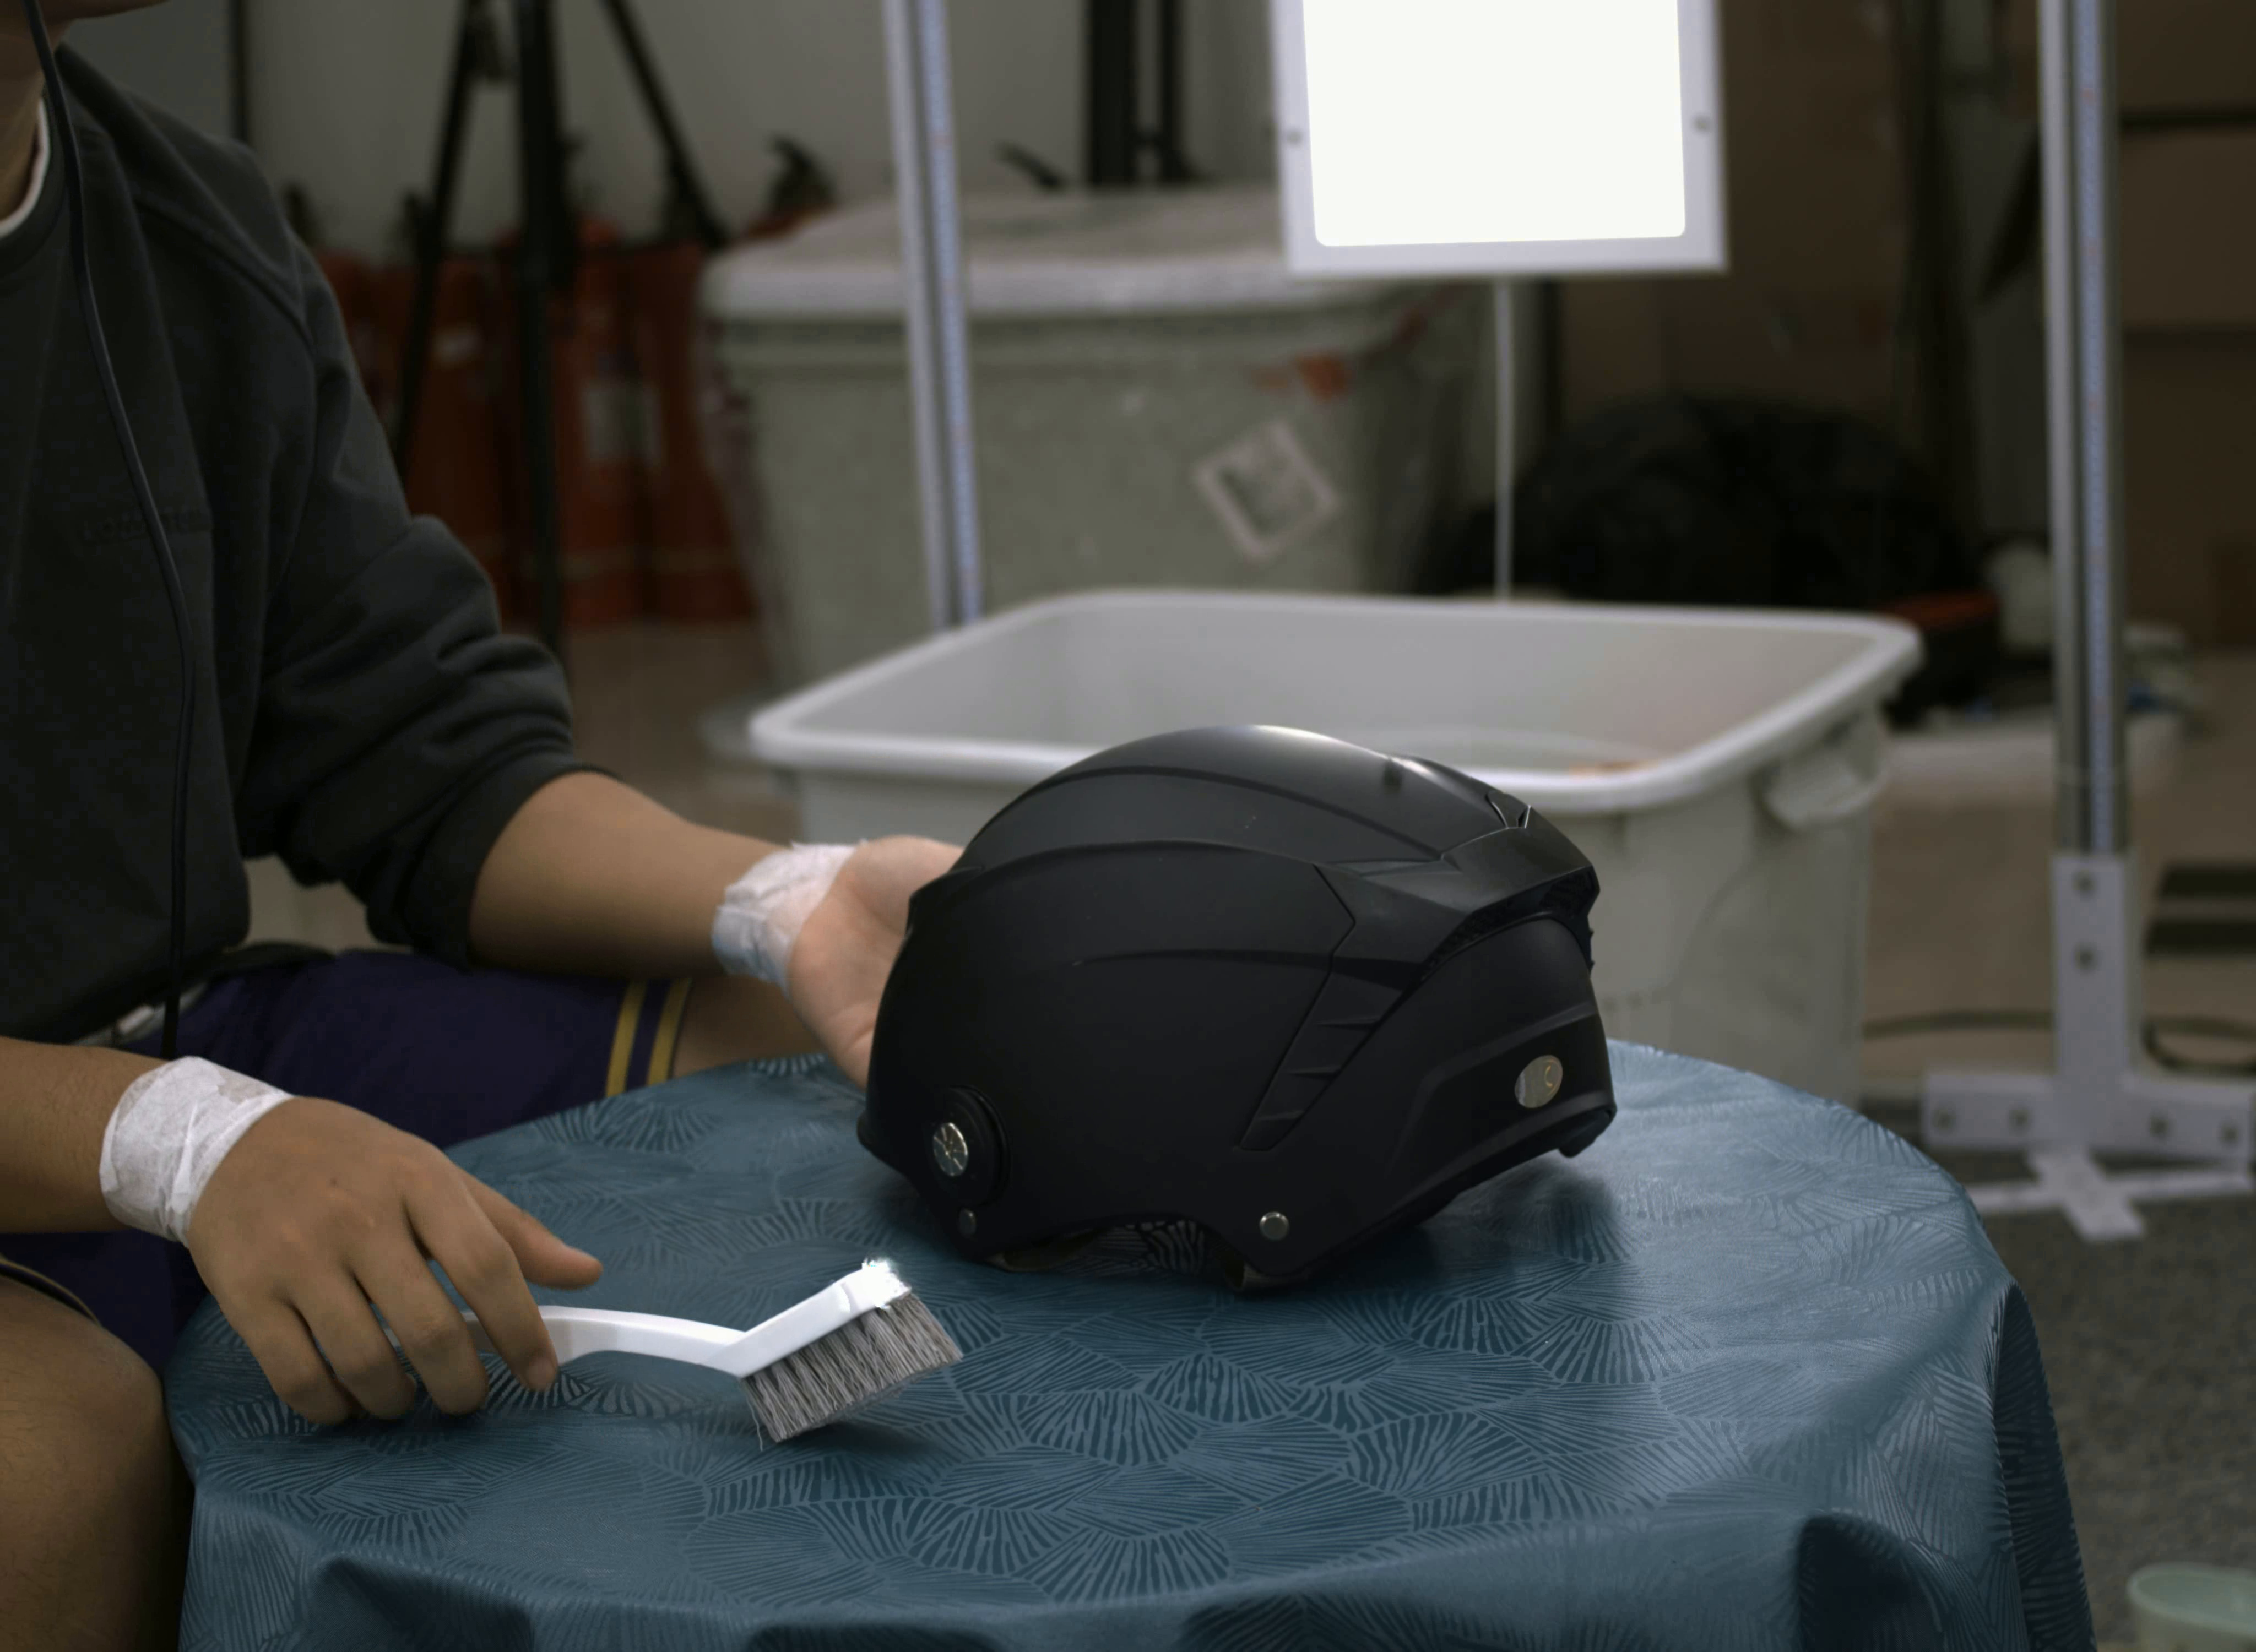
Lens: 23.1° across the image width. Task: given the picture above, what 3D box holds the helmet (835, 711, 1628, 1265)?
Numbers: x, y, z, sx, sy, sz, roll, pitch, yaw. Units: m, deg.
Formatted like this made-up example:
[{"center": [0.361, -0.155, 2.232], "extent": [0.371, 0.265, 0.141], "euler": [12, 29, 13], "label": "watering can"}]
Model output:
[{"center": [0.035, 0.048, 1.869], "extent": [0.282, 0.173, 0.240], "euler": [11, 20, 43], "label": "helmet"}]

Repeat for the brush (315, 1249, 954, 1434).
[{"center": [-0.158, 0.171, 1.727], "extent": [0.249, 0.050, 0.033], "euler": [-11, 1, 36], "label": "brush"}]
